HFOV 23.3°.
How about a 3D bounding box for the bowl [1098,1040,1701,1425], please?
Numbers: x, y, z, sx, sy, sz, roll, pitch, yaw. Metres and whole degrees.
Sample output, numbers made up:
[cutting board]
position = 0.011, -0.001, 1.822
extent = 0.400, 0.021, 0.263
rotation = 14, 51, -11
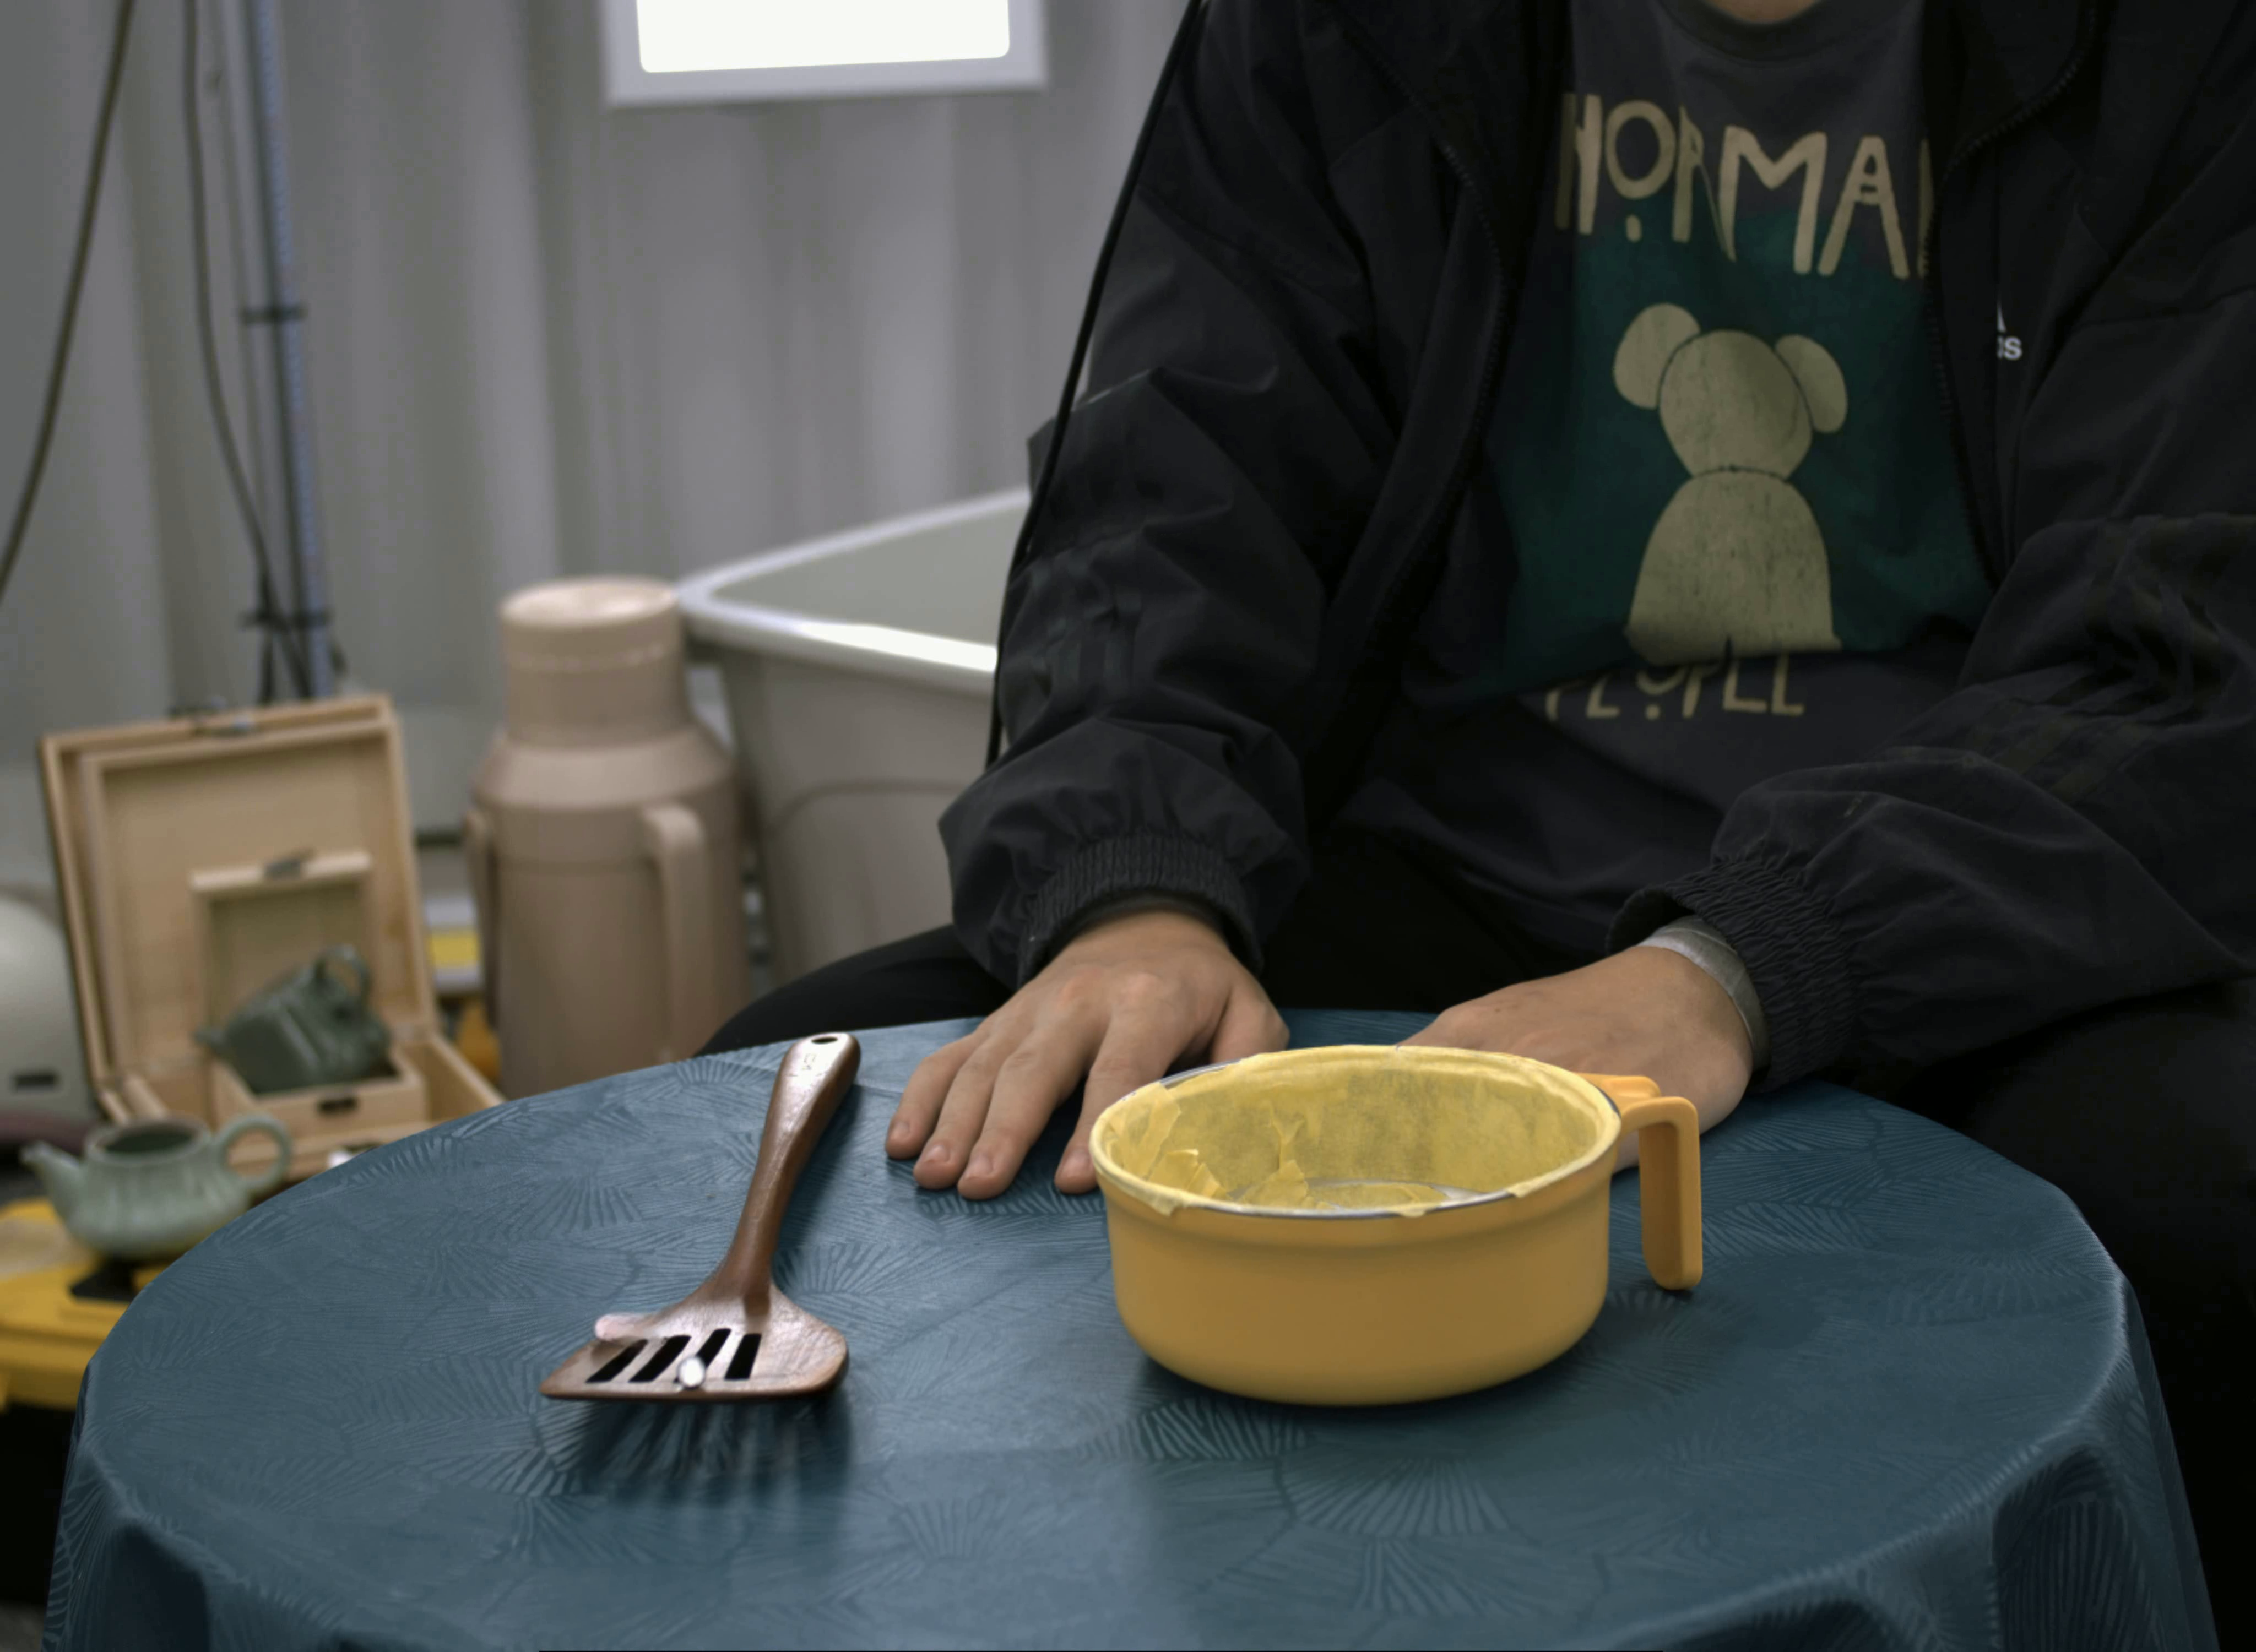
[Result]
[bowl]
position = 0.081, 0.117, 1.569
extent = 0.178, 0.074, 0.154
rotation = -10, 17, -25

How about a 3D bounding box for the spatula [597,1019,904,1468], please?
[spatula]
position = -0.123, 0.127, 1.677
extent = 0.085, 0.024, 0.390
rotation = 4, 16, -8
